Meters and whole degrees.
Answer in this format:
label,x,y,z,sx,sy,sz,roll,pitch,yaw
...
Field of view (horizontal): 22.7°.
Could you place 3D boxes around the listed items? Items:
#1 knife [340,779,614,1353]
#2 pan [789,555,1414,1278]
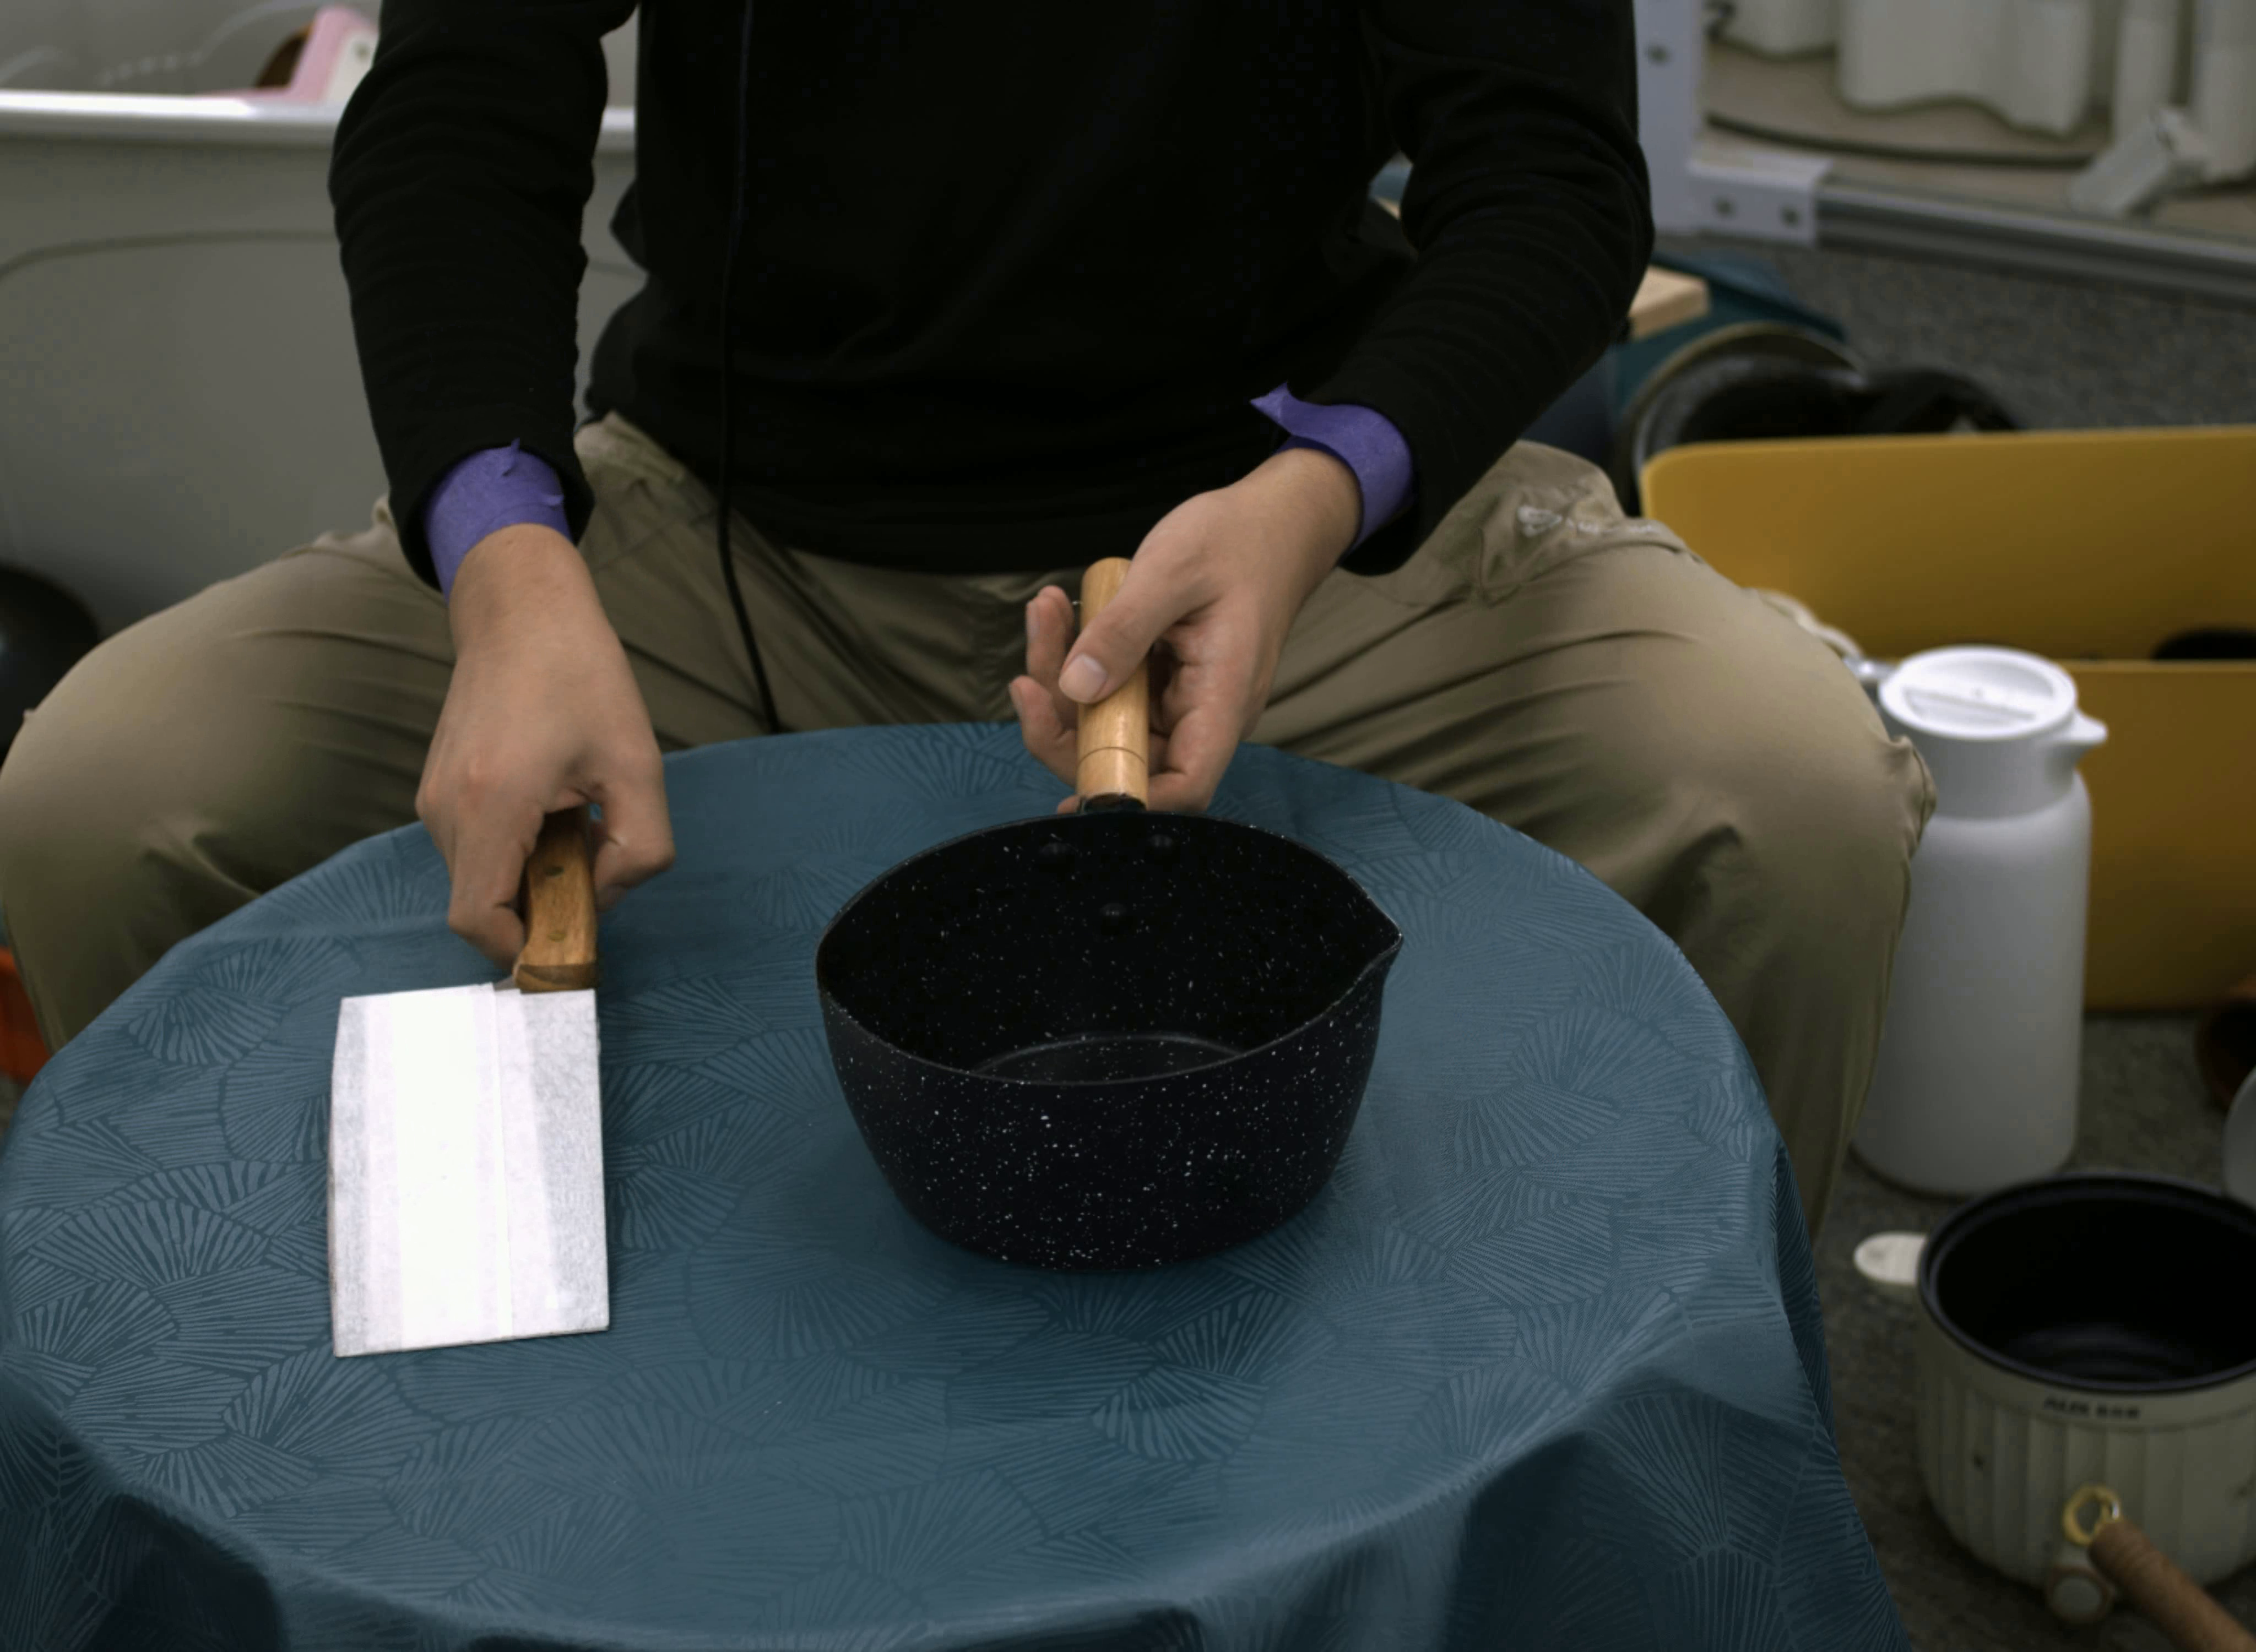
label,x,y,z,sx,sy,sz,roll,pitch,yaw
knife,-0.223,0.079,1.917,0.092,0.021,0.311,-5,35,-3
pan,-0.008,0.028,1.928,0.206,0.107,0.348,-3,28,1
